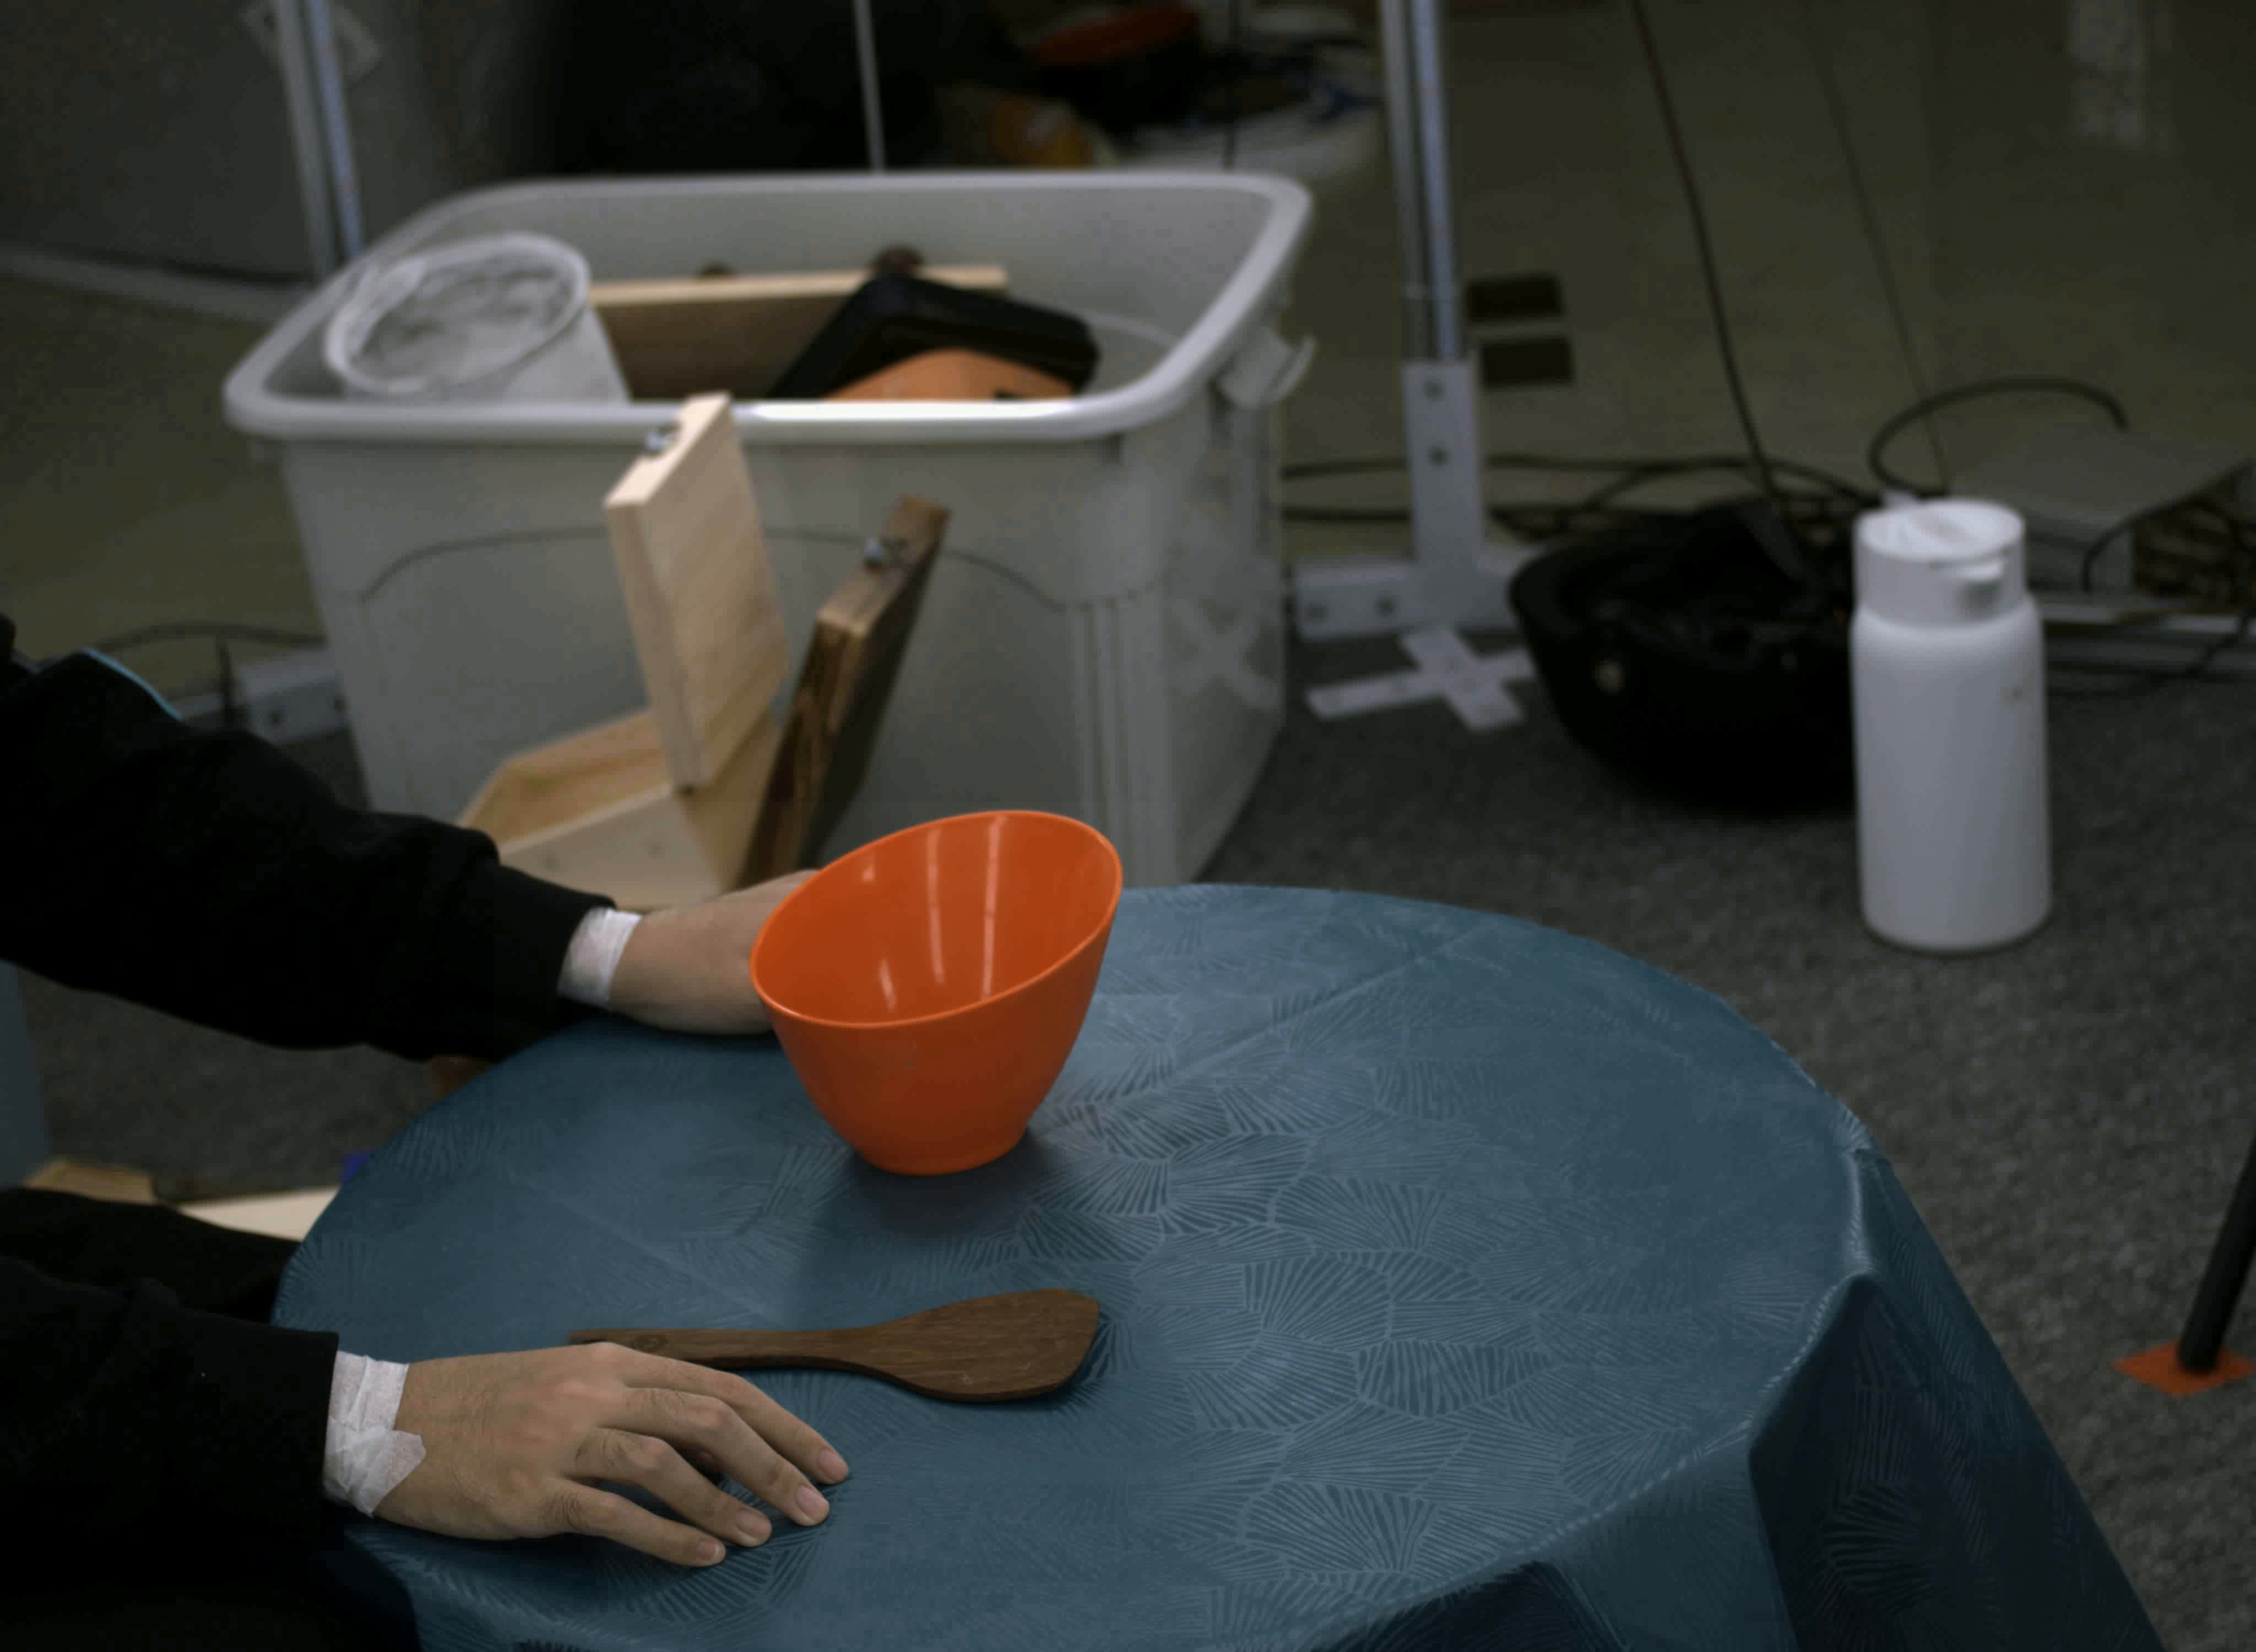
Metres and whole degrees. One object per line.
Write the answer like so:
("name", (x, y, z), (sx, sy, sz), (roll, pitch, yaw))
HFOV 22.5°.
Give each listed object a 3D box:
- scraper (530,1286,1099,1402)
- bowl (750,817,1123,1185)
("scraper", (-0.115, 0.190, 2.062), (0.211, 0.011, 0.075), (-2, 24, 11))
("bowl", (-0.068, 0.074, 2.191), (0.148, 0.106, 0.146), (-6, 26, 3))
